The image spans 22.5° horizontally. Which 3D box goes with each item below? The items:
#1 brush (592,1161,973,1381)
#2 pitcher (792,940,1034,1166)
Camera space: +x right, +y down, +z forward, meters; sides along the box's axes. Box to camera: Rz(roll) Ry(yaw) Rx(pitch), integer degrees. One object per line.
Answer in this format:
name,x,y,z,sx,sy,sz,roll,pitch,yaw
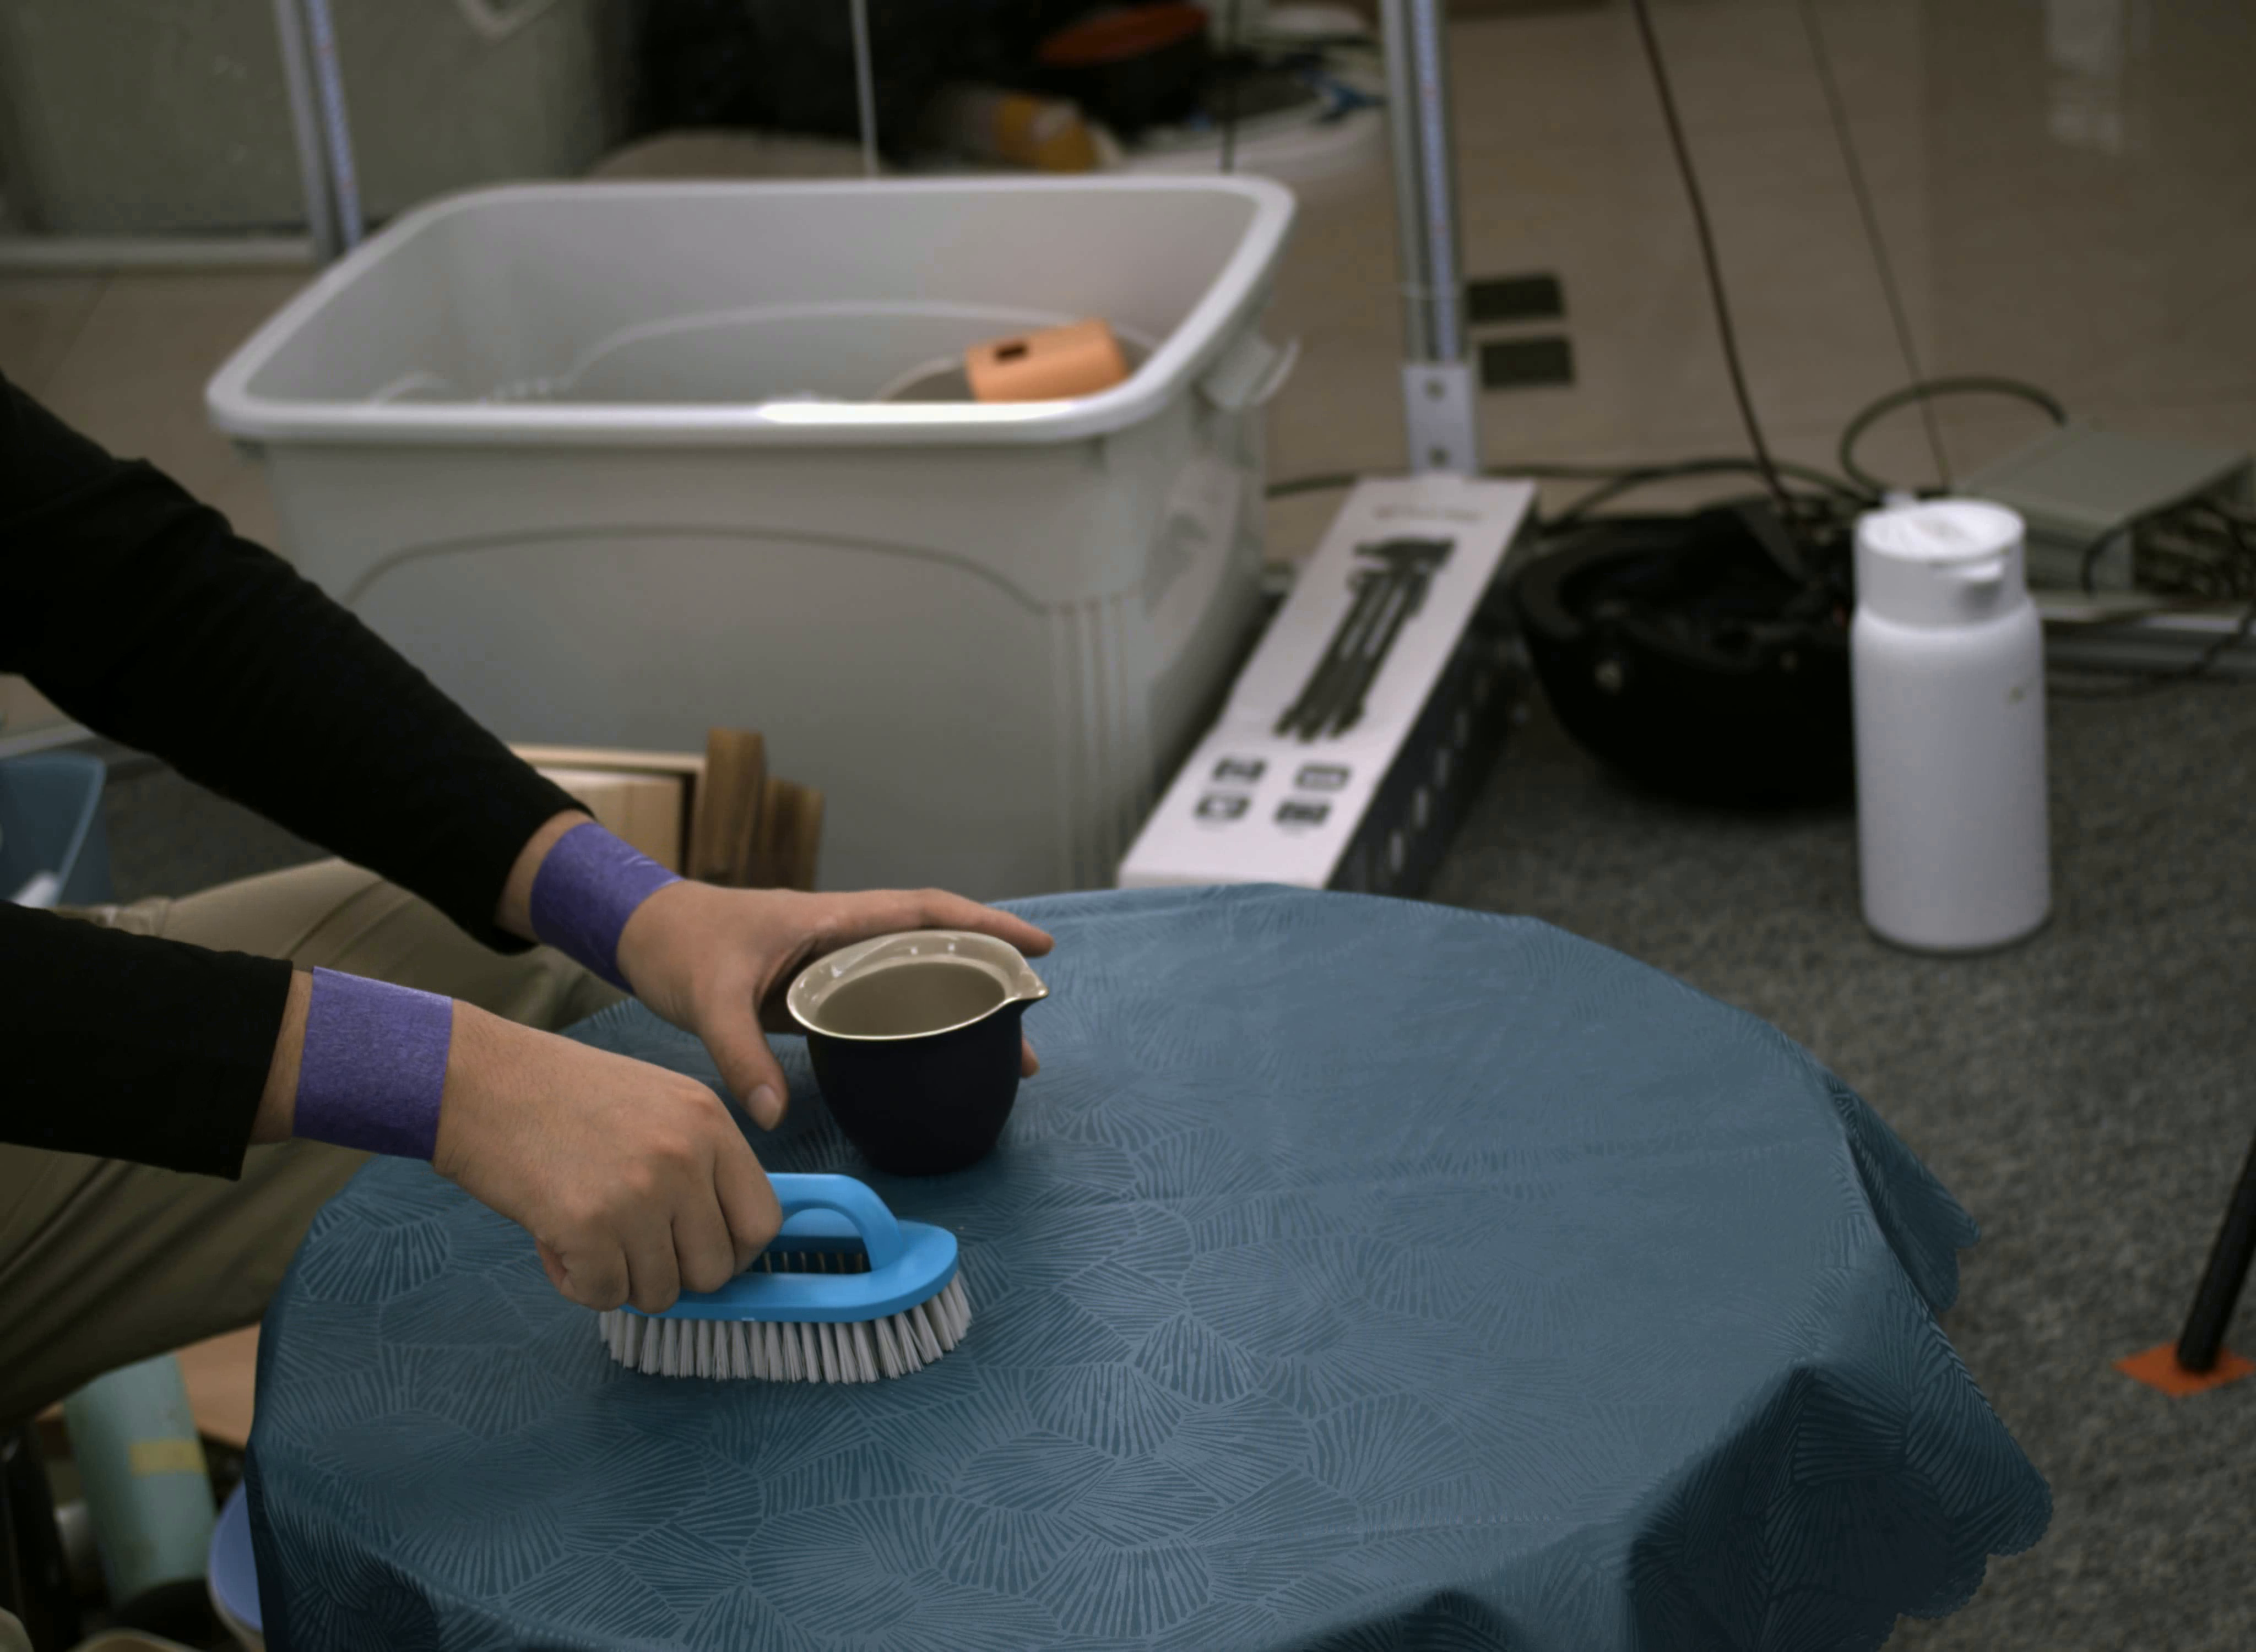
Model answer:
brush,-0.130,0.153,2.068,0.141,0.065,0.083,0,30,17
pitcher,-0.079,0.089,2.183,0.095,0.072,0.082,5,26,19
